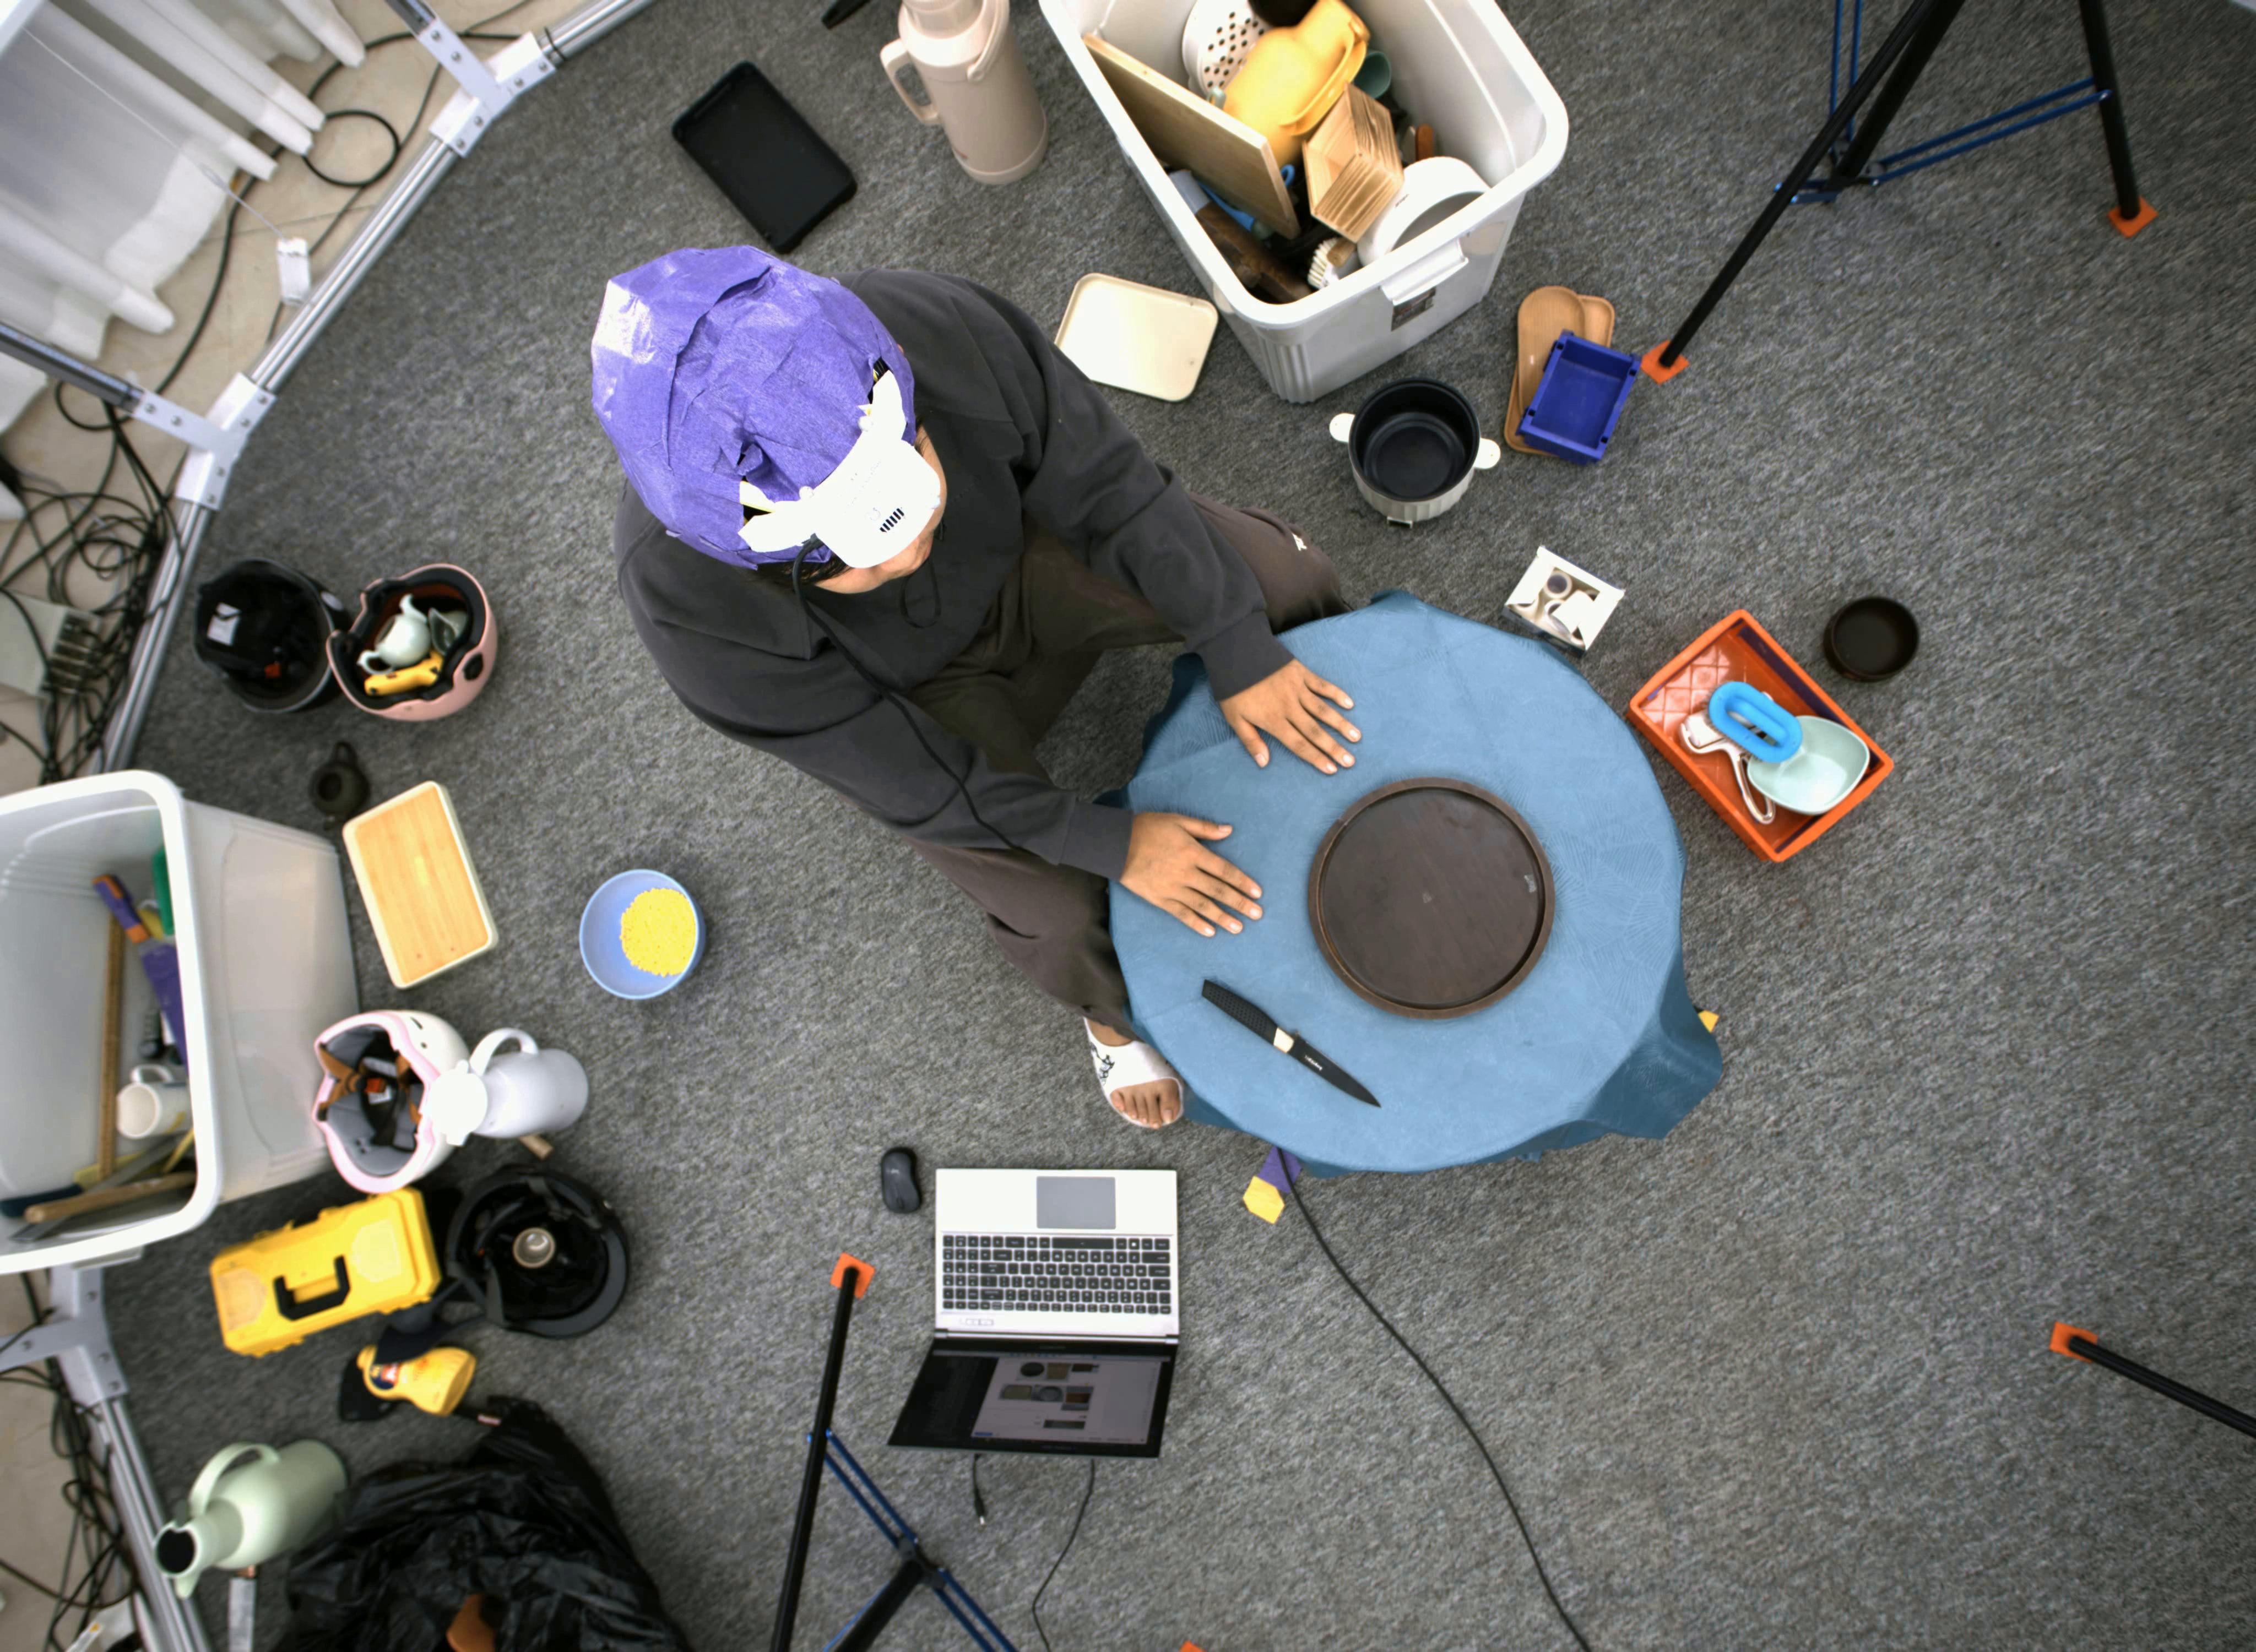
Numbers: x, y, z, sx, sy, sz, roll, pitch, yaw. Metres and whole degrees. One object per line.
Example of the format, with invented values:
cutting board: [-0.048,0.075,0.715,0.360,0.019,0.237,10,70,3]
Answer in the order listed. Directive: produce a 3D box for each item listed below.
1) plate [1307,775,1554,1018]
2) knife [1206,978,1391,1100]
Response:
plate: [0.314,0.072,1.441,0.256,0.029,0.253,-1,87,12]
knife: [0.179,0.227,1.464,0.225,0.017,0.026,34,88,10]
